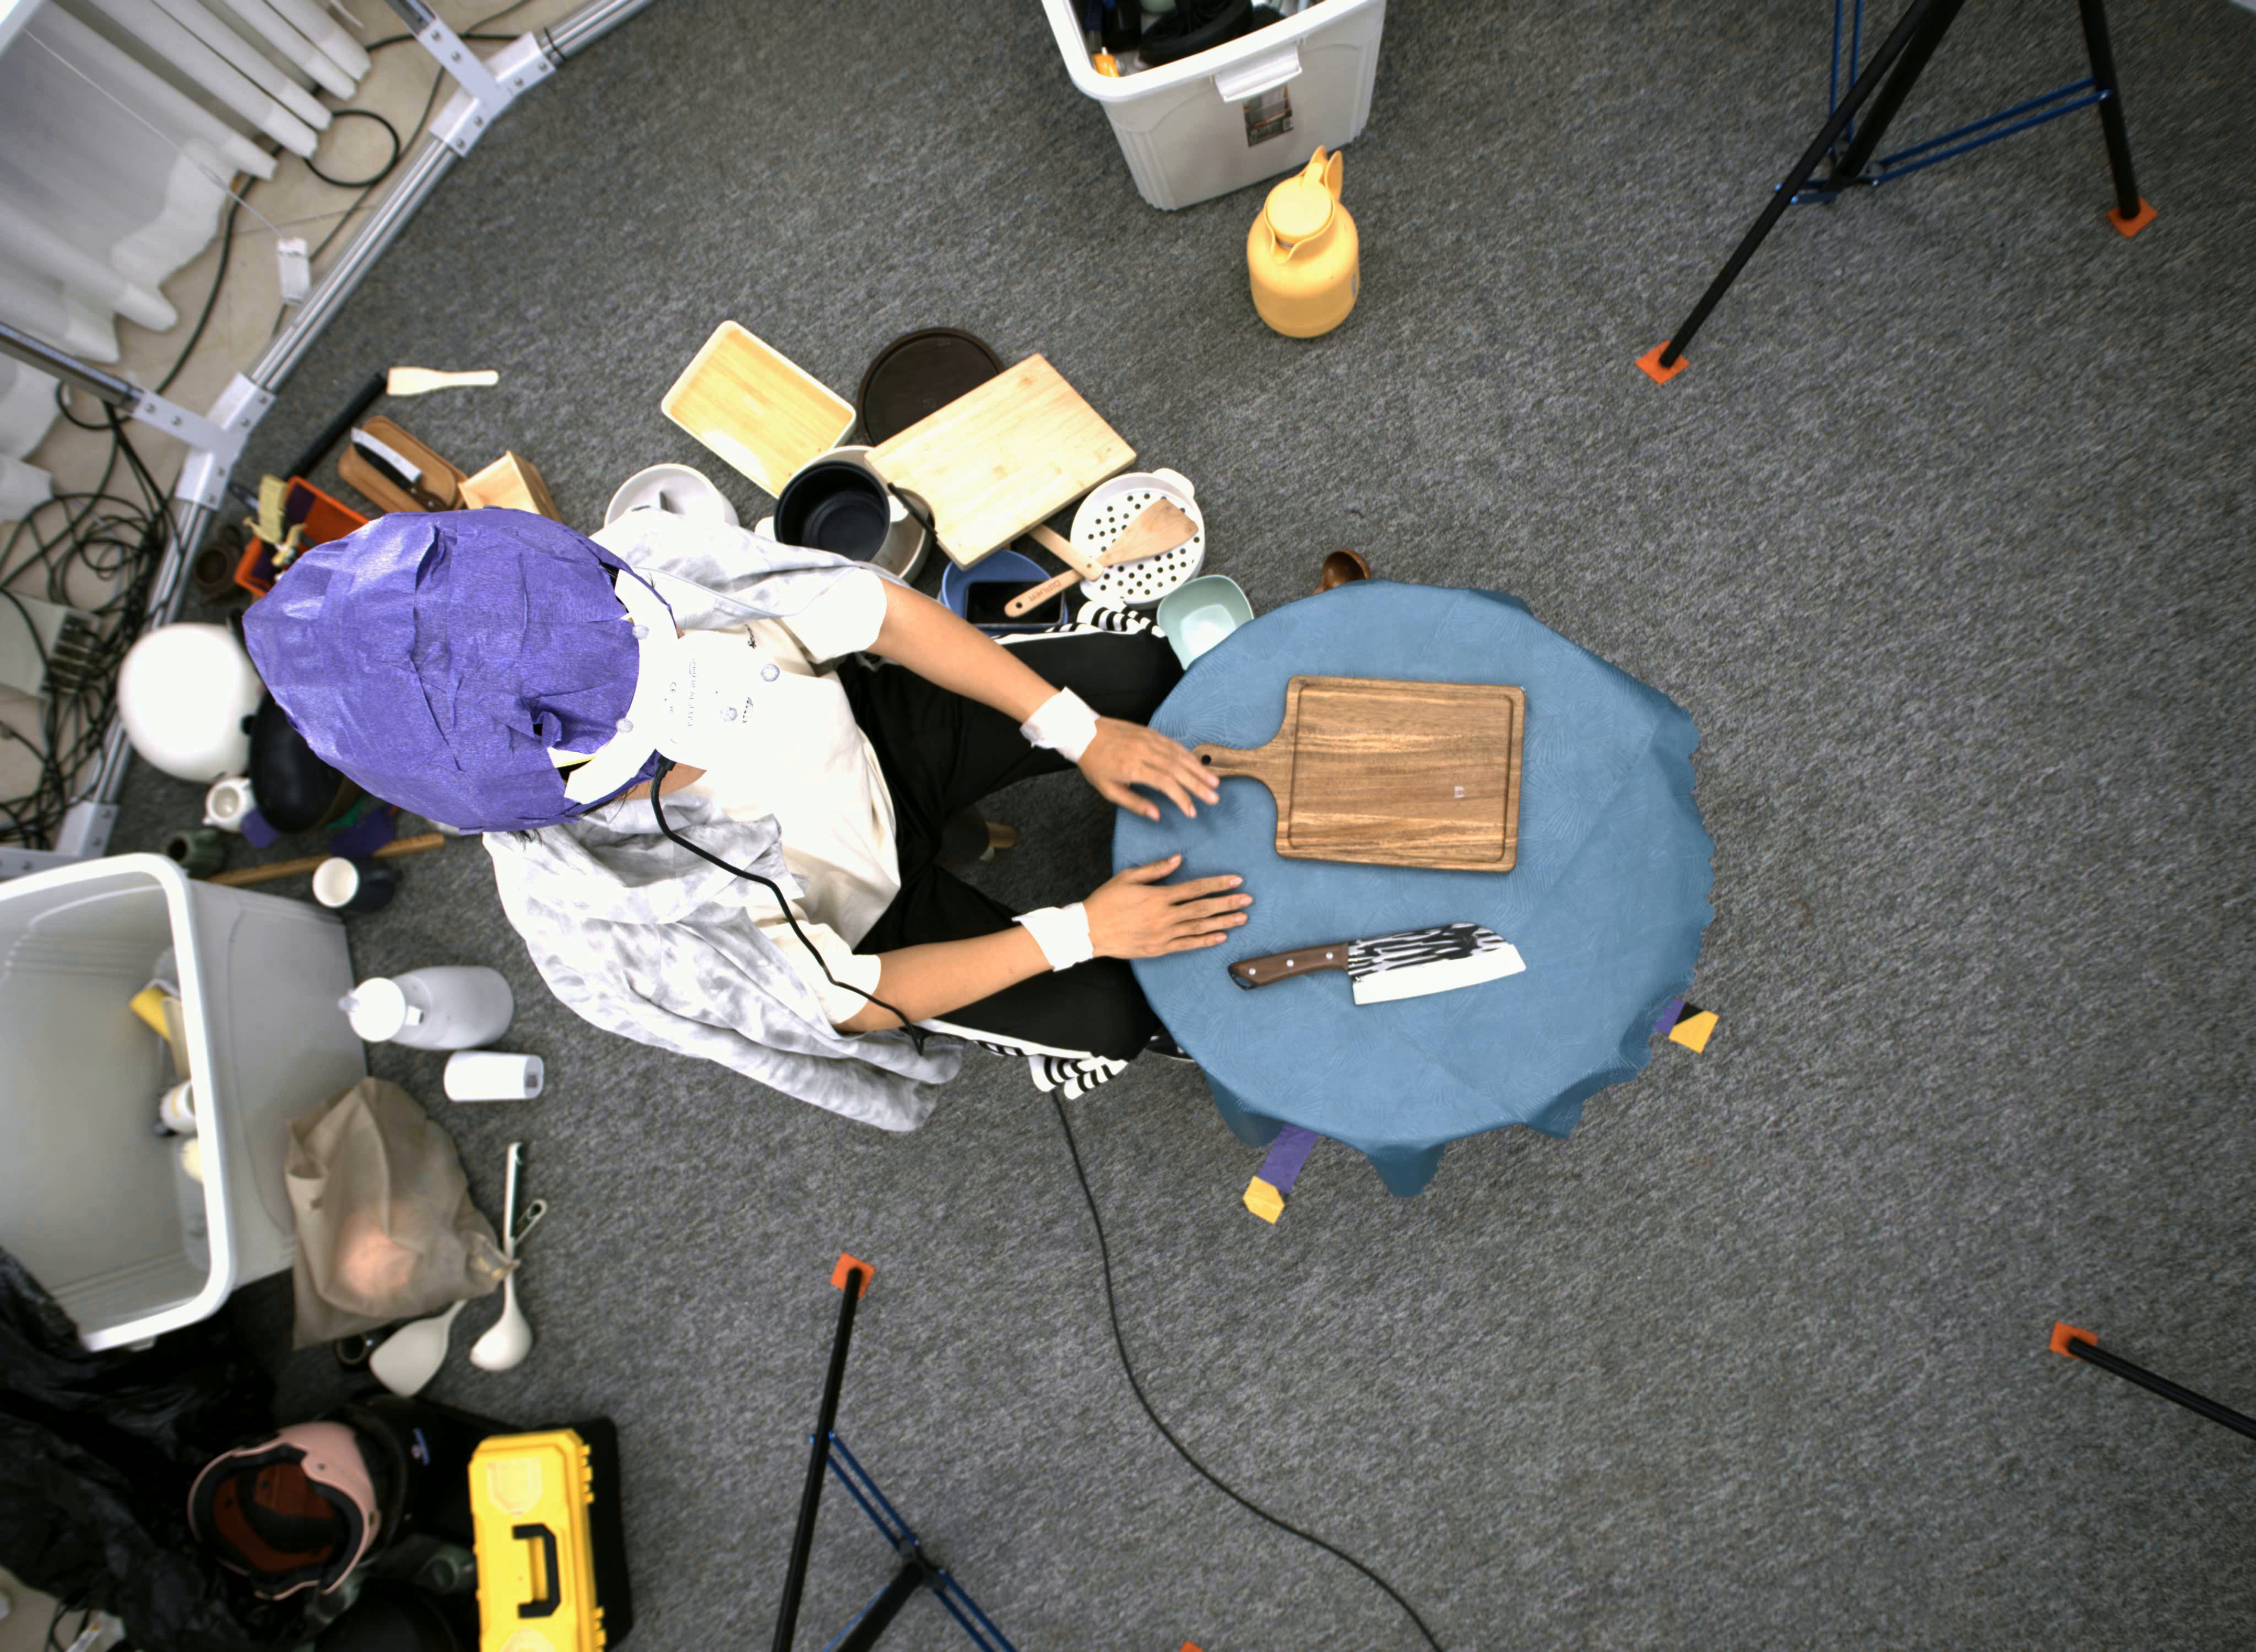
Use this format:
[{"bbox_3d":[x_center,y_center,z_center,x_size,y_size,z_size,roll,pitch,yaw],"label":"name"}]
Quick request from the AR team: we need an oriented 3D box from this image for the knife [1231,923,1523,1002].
[{"bbox_3d":[0.259,0.146,1.446,0.301,0.024,0.068,-9,87,7],"label":"knife"}]

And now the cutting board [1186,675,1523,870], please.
[{"bbox_3d":[0.236,-0.062,1.461,0.353,0.023,0.200,3,87,11],"label":"cutting board"}]
